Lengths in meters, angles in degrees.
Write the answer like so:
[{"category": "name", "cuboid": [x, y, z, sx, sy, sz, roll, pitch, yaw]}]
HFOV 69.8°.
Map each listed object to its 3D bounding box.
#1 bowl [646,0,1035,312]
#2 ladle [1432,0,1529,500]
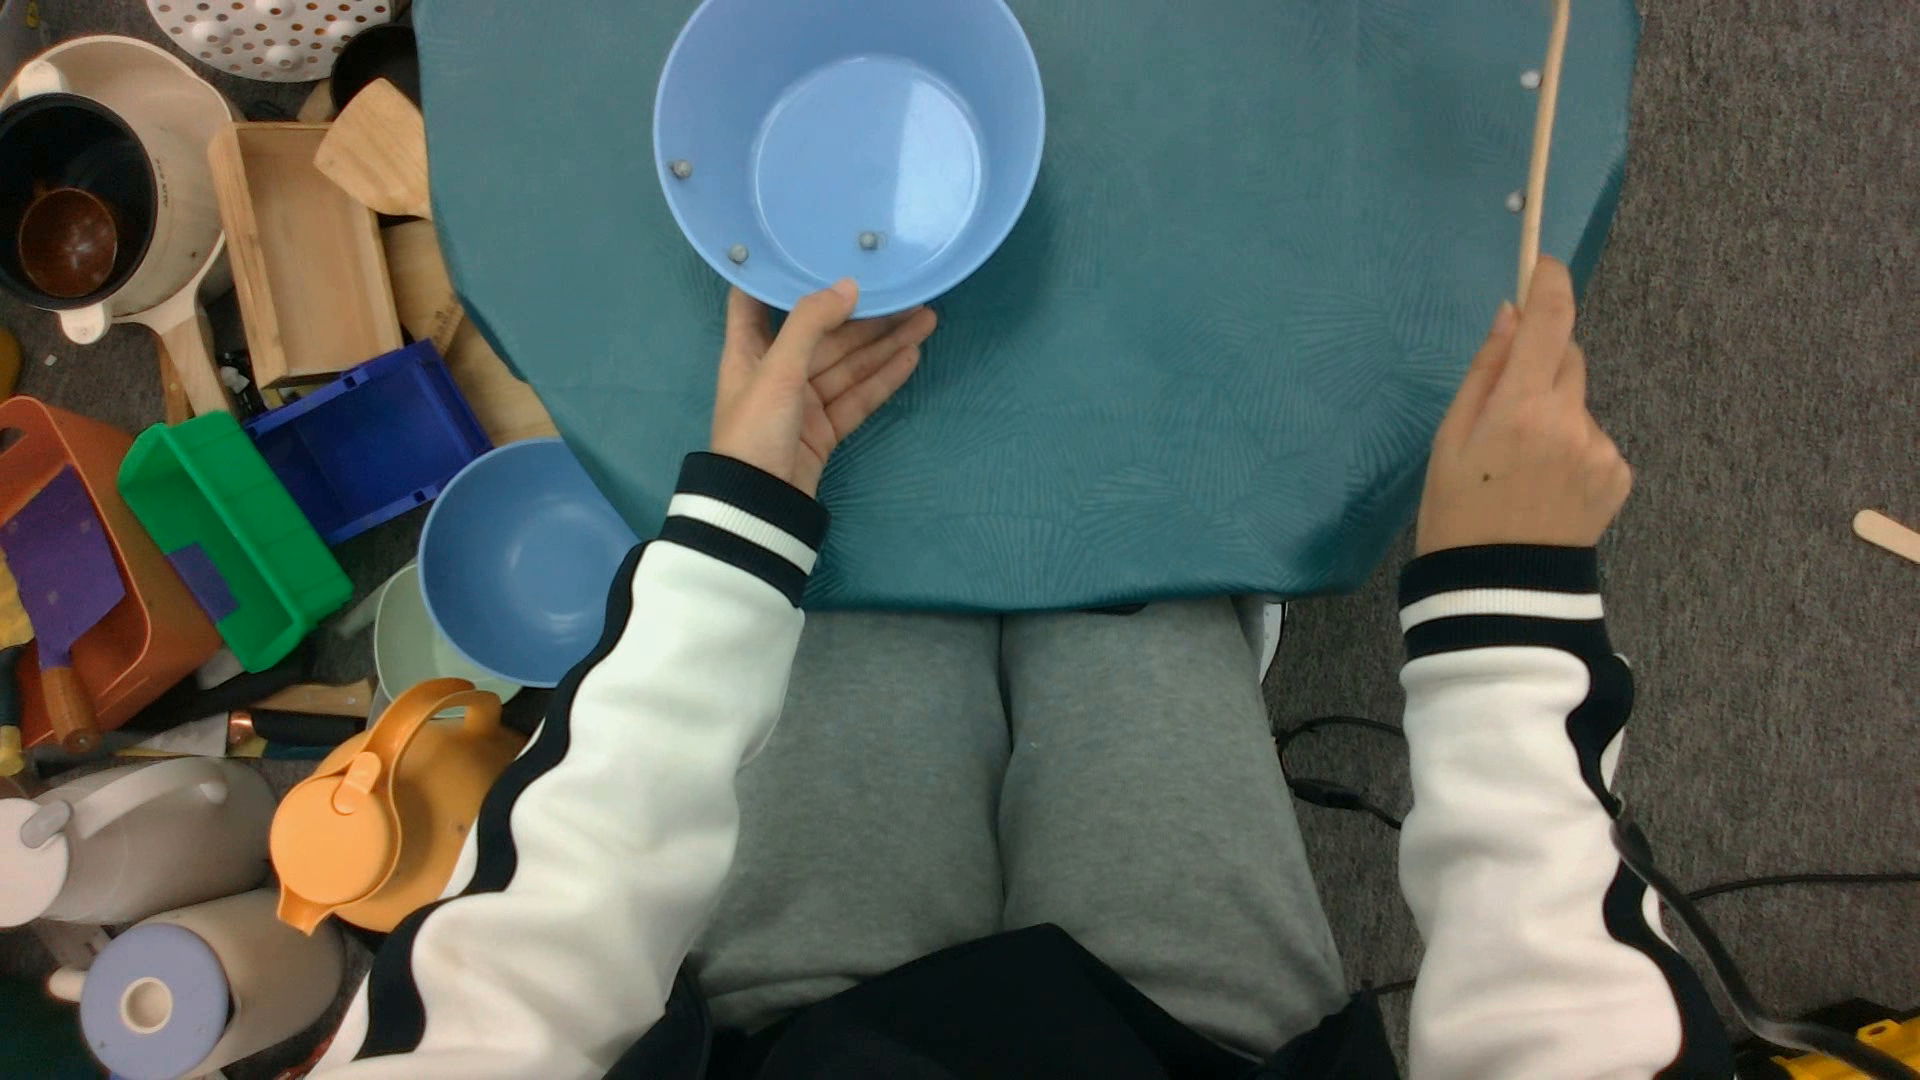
[{"category": "bowl", "cuboid": [-0.051, -0.184, 0.646, 0.176, 0.070, 0.176, -1, 83, 5]}, {"category": "ladle", "cuboid": [0.198, -0.144, 0.572, 0.073, 0.072, 0.254, 1, 91, 11]}]
